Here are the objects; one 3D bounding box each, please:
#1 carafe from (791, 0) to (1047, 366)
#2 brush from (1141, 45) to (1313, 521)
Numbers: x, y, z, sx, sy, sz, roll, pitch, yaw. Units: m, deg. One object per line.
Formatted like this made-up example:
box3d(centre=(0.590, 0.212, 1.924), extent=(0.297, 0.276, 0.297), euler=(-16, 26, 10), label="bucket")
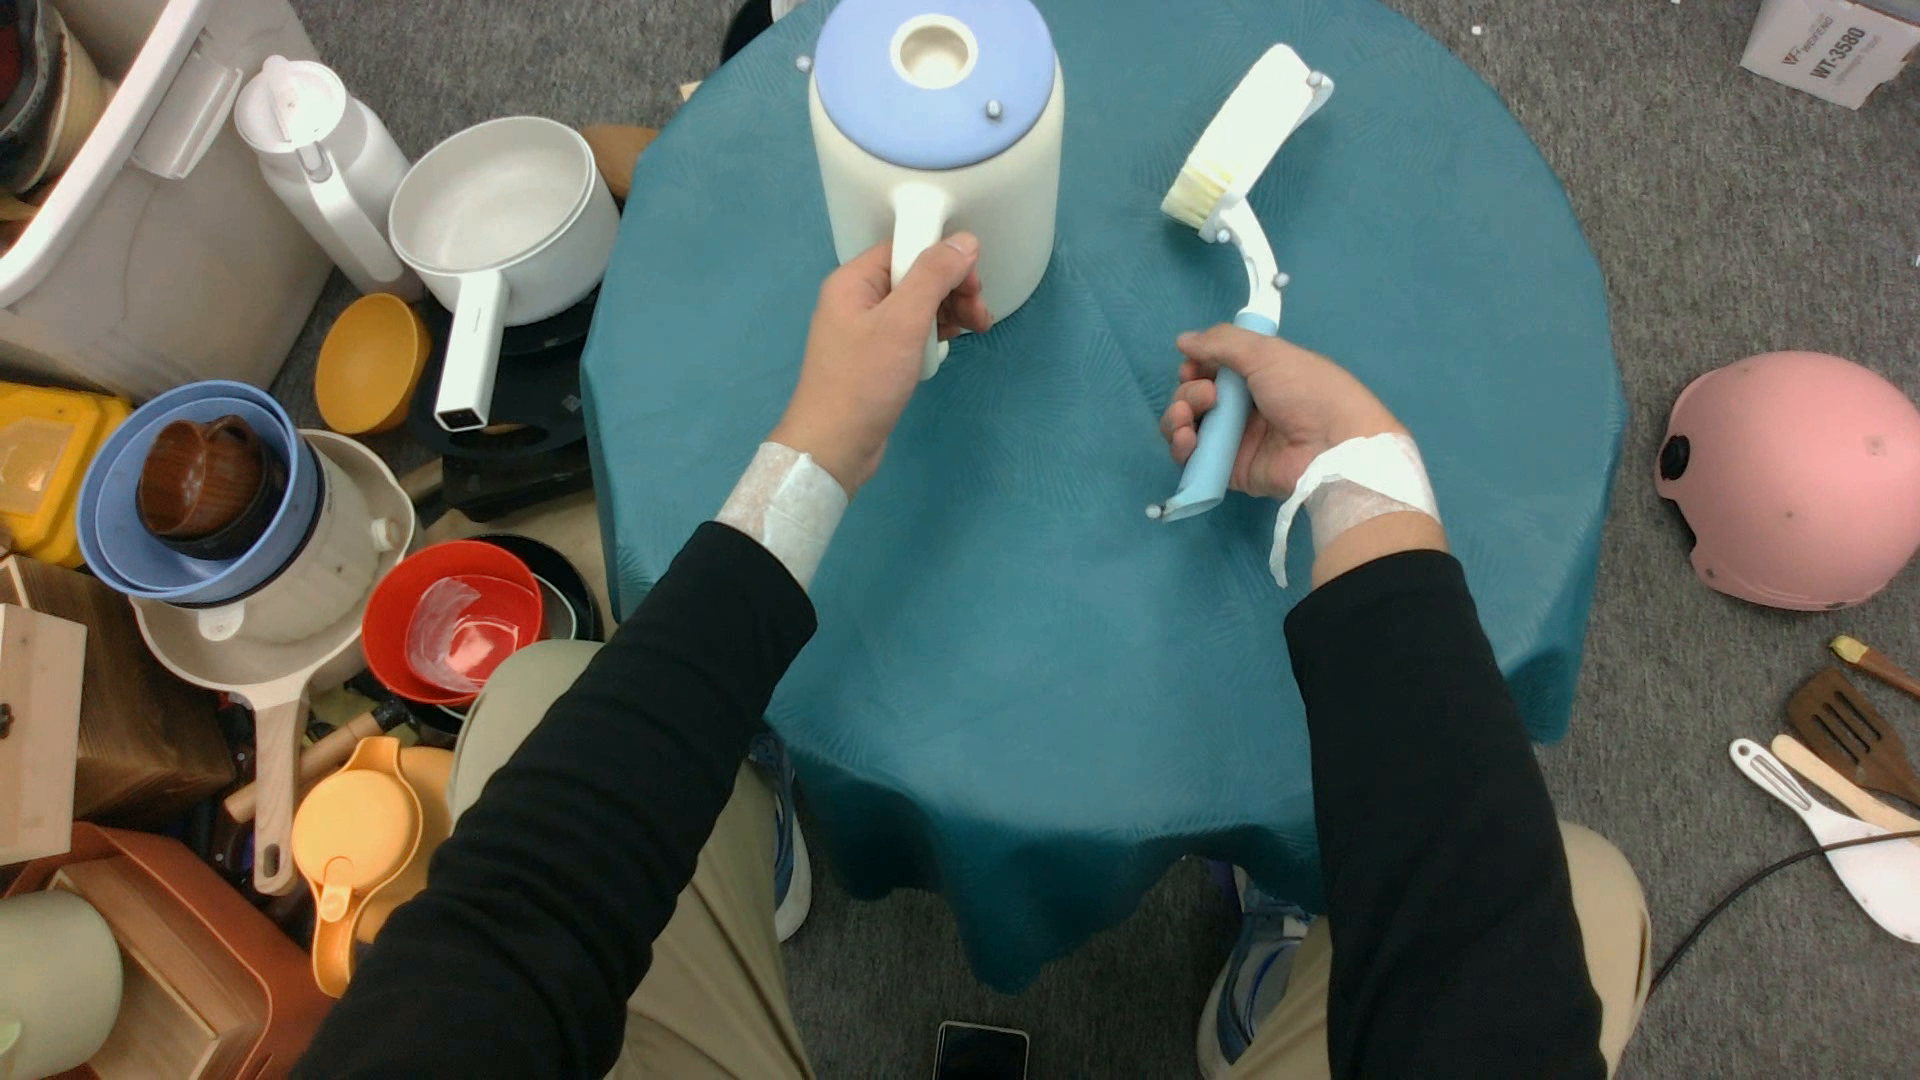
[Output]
box3d(centre=(-0.023, -0.192, 0.744), extent=(0.132, 0.182, 0.191), euler=(4, 72, 2), label="carafe")
box3d(centre=(0.126, -0.161, 0.769), extent=(0.084, 0.083, 0.327), euler=(4, 60, 32), label="brush")
